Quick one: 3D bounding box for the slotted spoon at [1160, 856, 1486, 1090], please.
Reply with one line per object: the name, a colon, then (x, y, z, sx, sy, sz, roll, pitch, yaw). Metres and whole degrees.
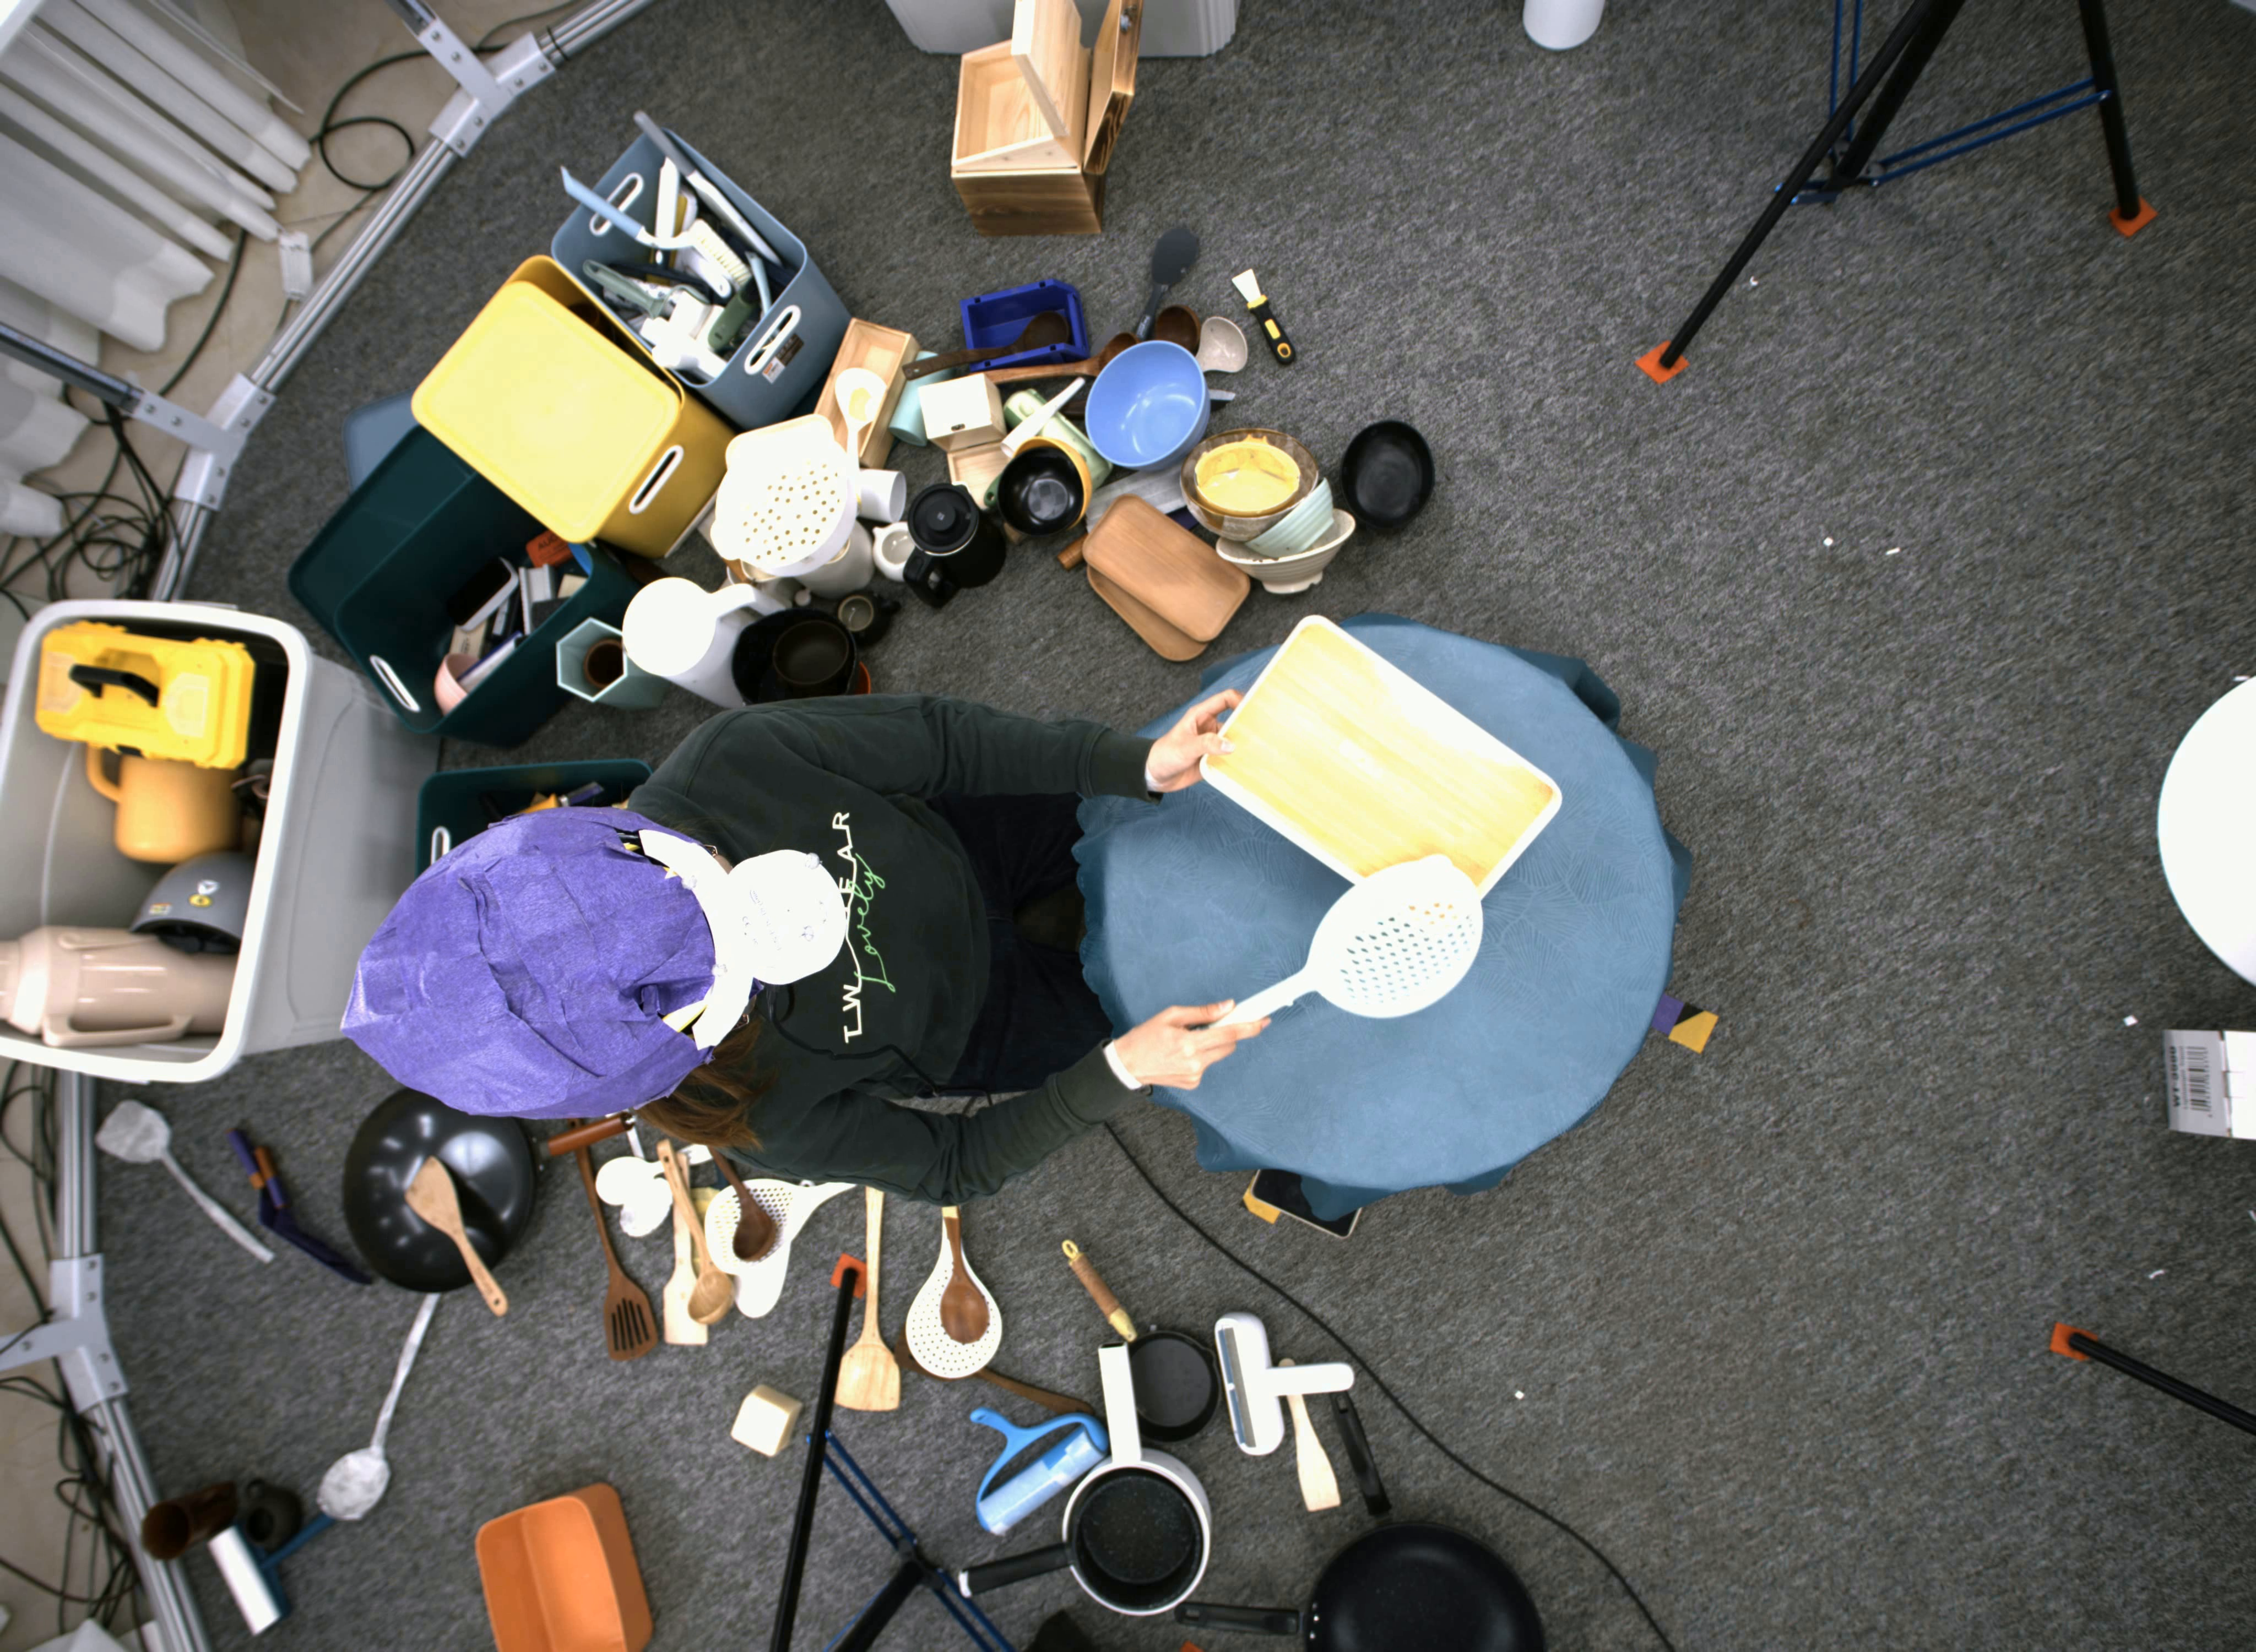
slotted spoon: (0.174, 0.156, 1.301, 0.362, 0.165, 0.076, -25, 123, 15)

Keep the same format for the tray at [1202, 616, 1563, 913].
tray: (0.240, -0.044, 1.310, 0.301, 0.027, 0.195, 34, 112, -6)
